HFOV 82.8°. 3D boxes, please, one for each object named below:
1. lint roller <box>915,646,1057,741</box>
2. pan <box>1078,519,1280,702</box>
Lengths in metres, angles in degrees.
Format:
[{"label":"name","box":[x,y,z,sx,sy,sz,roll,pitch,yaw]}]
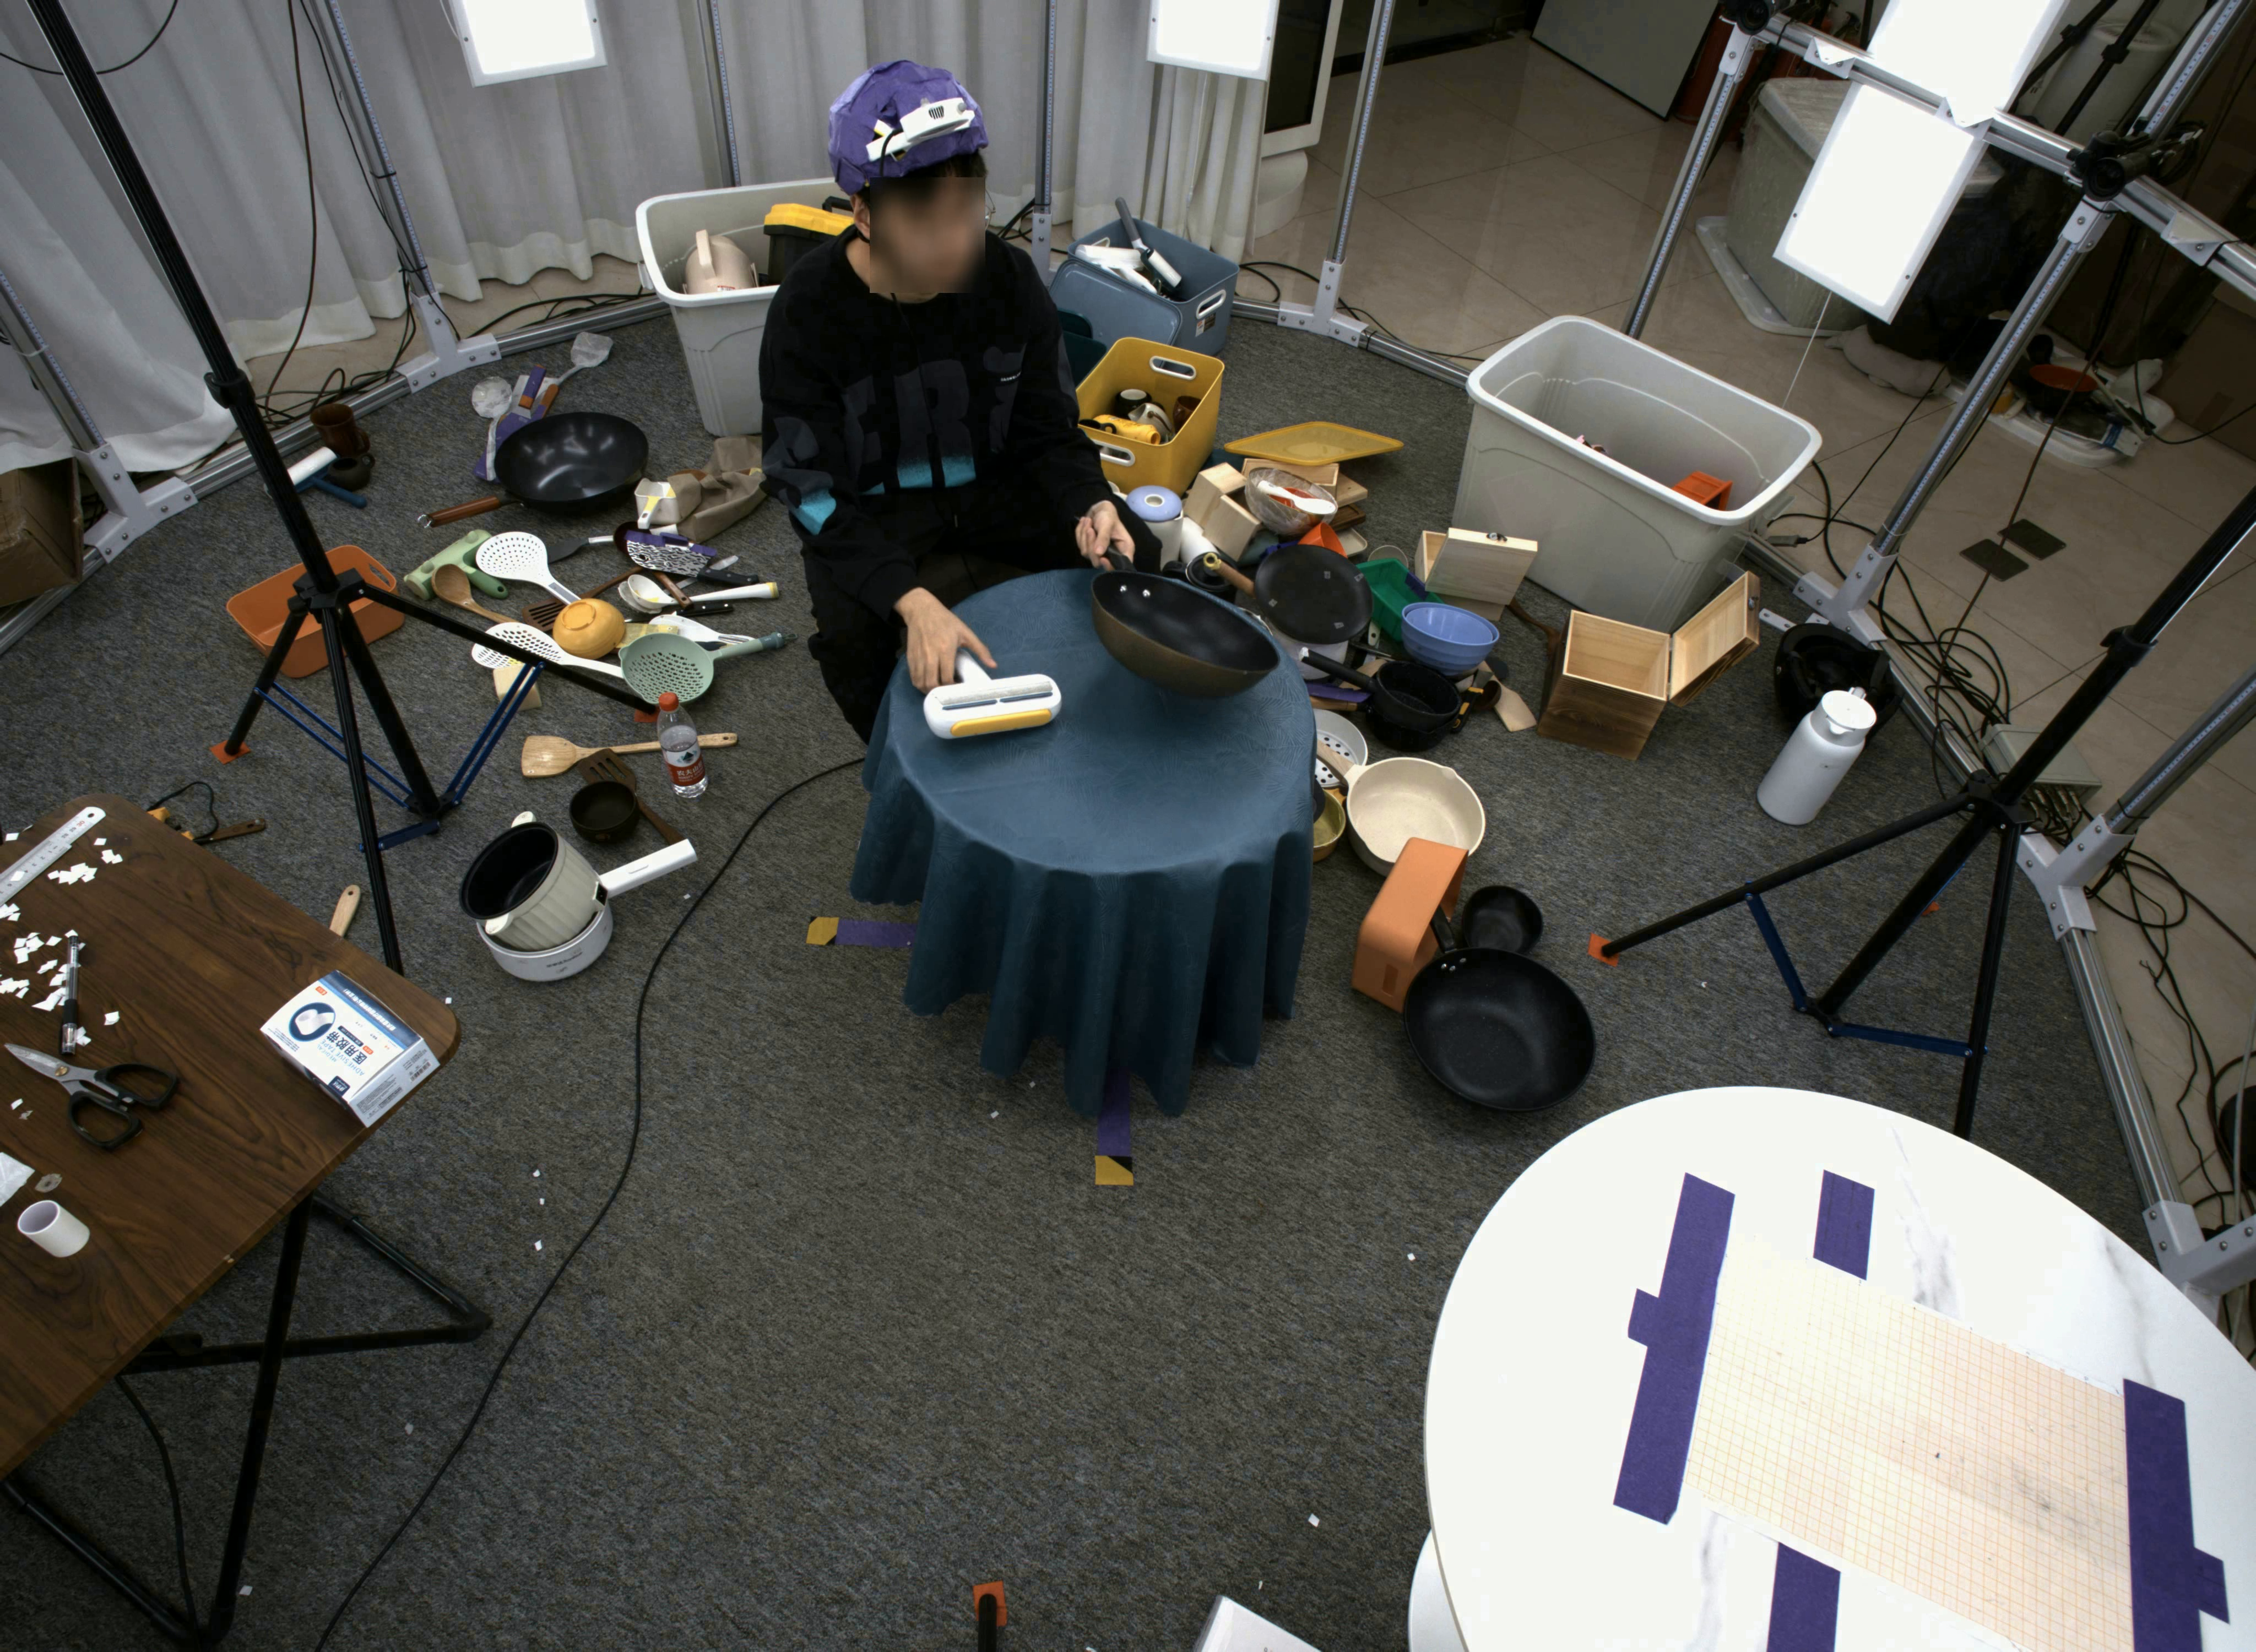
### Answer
[{"label":"lint roller","box":[-0.211,-0.199,1.782,0.193,0.072,0.197,-11,49,-19]},{"label":"pan","box":[0.023,-0.304,1.831,0.286,0.085,0.473,2,34,-37]}]
